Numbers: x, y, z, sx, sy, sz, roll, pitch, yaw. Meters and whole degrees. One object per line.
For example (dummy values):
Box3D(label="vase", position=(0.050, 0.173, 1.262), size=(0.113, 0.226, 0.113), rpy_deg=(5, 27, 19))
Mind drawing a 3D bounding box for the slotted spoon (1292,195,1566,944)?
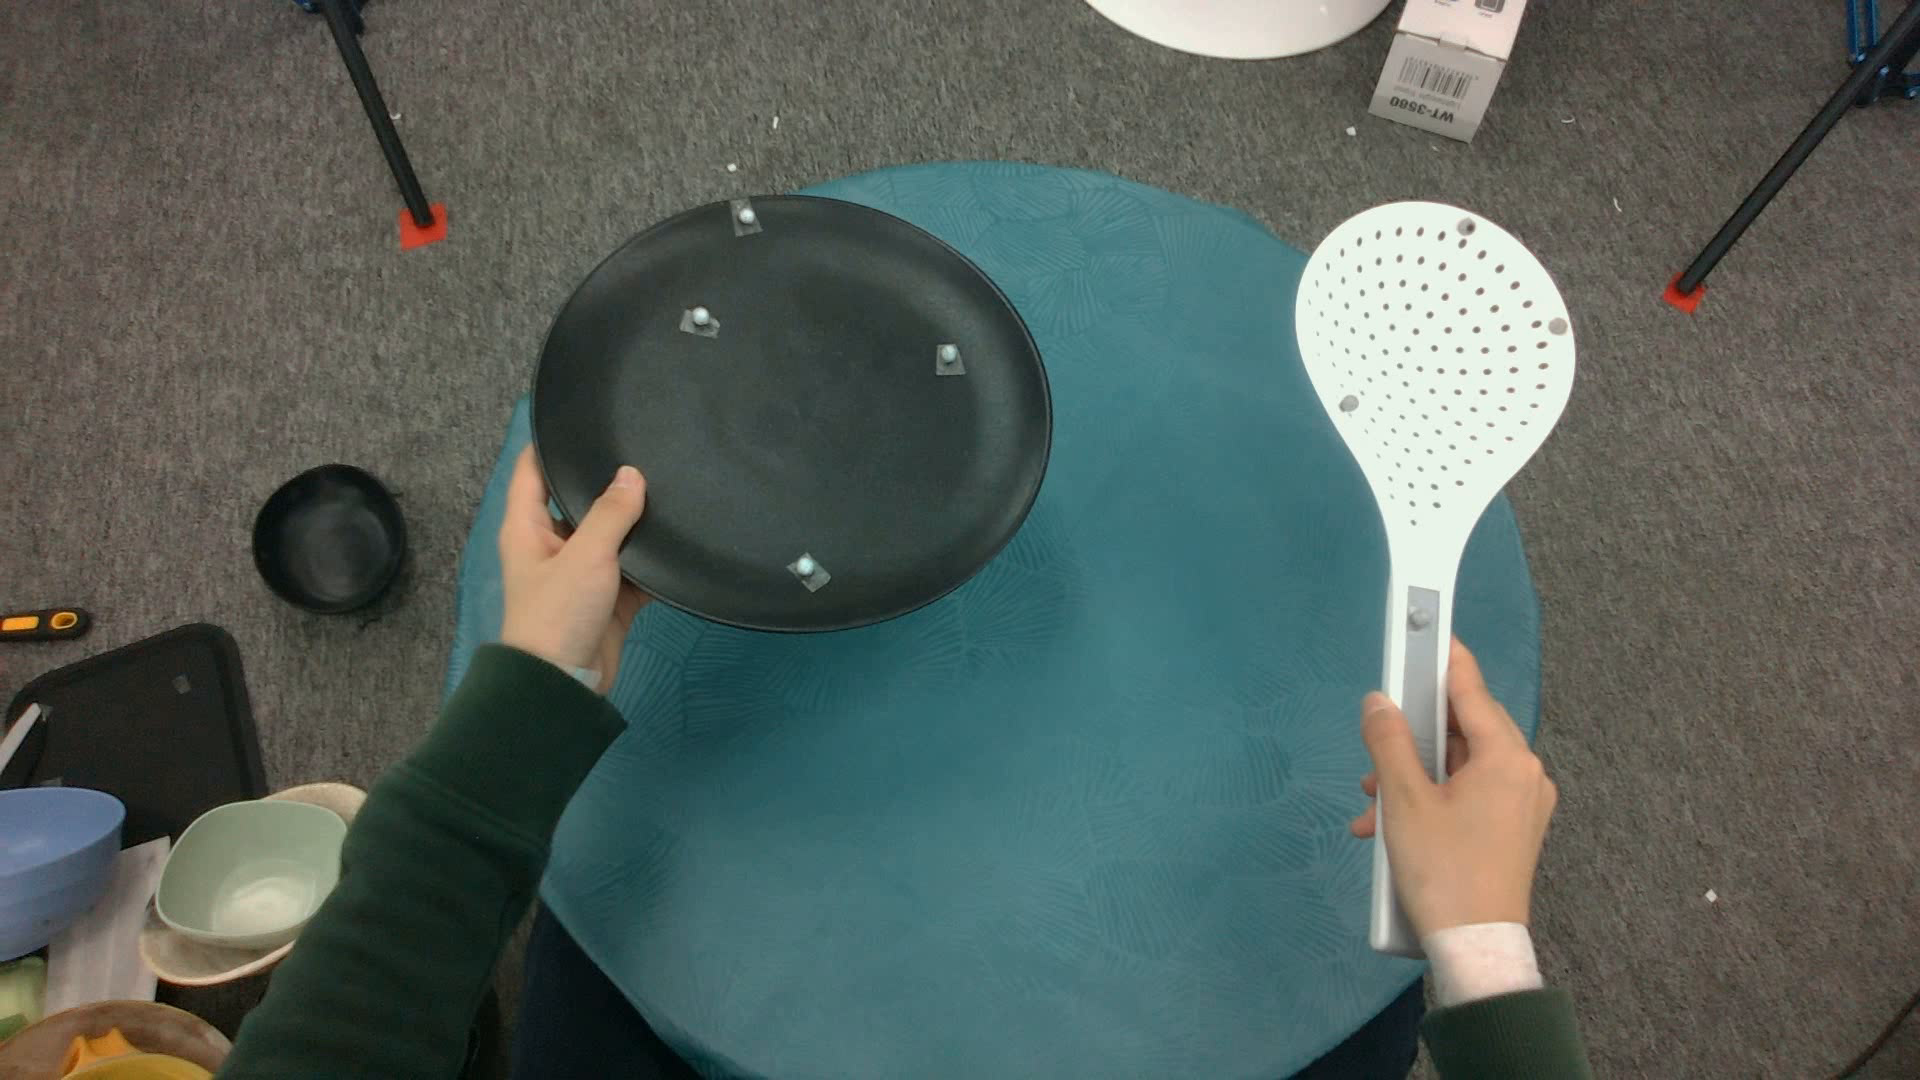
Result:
Box3D(label="slotted spoon", position=(0.206, 0.002, 0.624), size=(0.136, 0.045, 0.351), rpy_deg=(10, 68, -5))

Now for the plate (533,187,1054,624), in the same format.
Box3D(label="plate", position=(-0.077, -0.069, 0.658), size=(0.244, 0.023, 0.245), rpy_deg=(3, 62, -7))
